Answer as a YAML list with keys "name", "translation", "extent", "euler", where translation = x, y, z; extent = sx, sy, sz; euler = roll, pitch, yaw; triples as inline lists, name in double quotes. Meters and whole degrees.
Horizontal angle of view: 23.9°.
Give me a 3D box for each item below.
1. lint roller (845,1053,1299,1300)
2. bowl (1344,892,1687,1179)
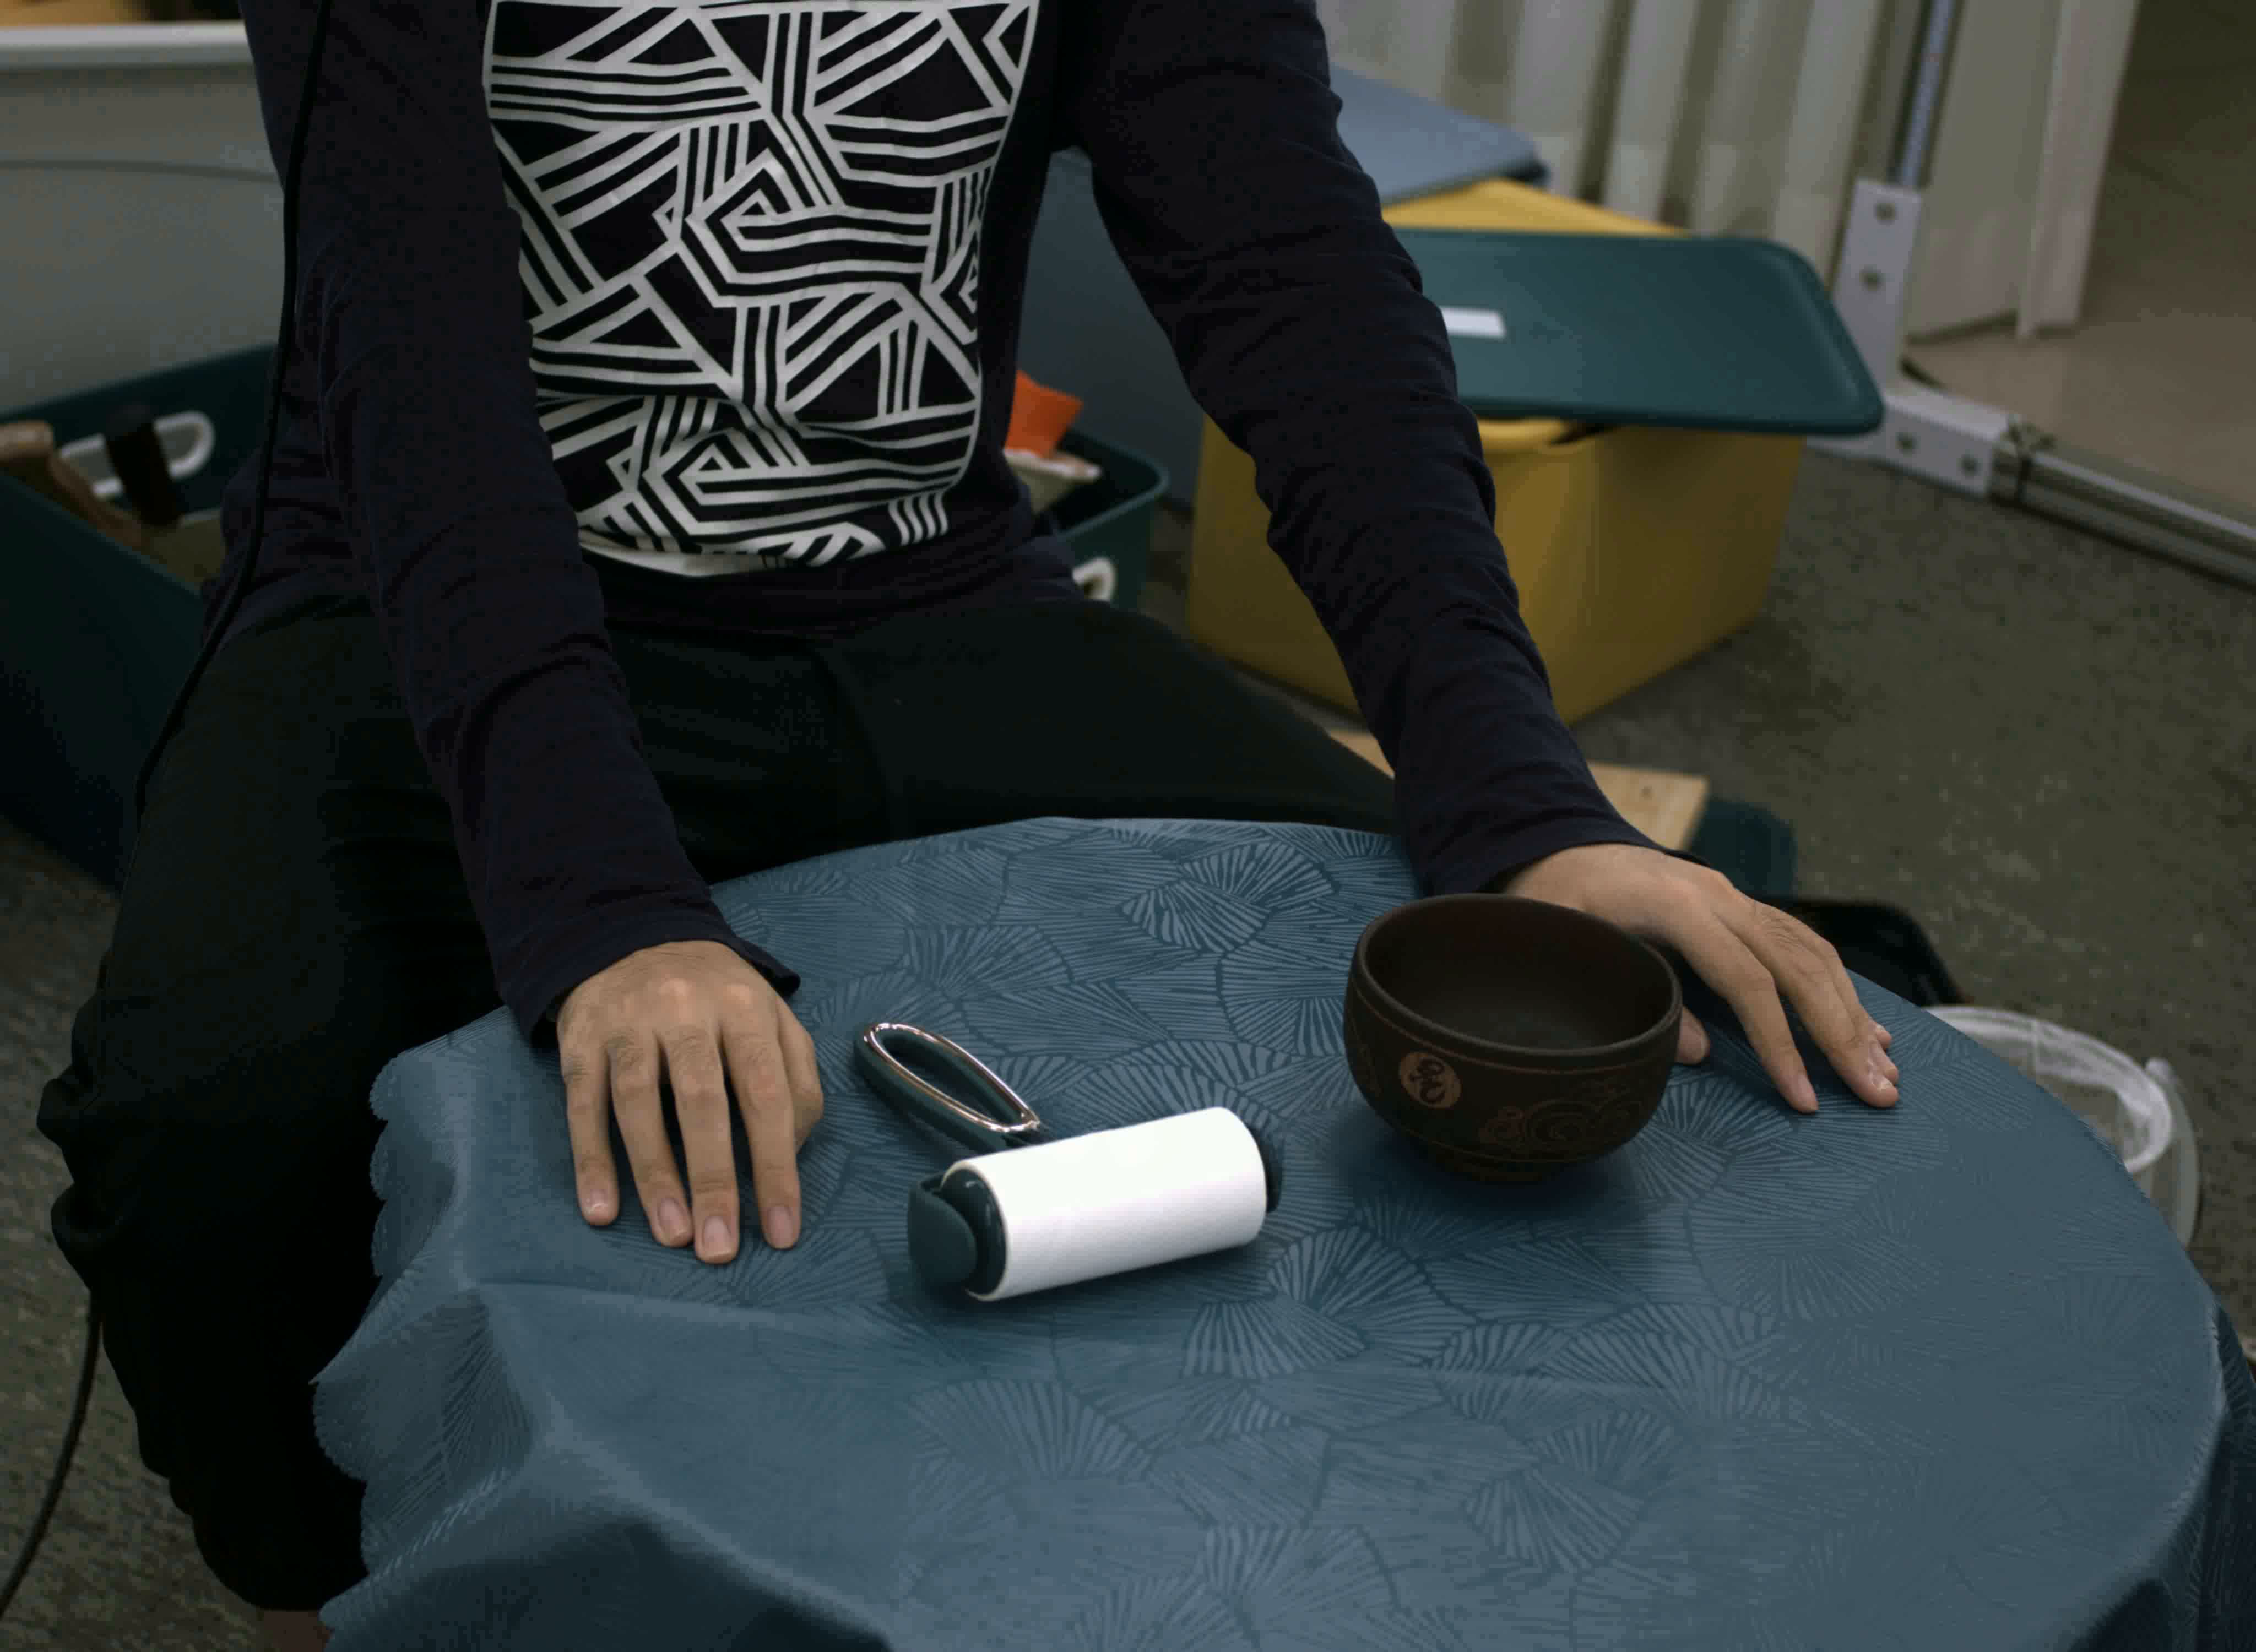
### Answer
- name: "lint roller"
  translation: [-0.044, 0.098, 1.802]
  extent: [0.133, 0.048, 0.181]
  euler: [-10, 28, -30]
- name: "bowl"
  translation: [0.132, 0.079, 1.844]
  extent: [0.117, 0.069, 0.119]
  euler: [3, 26, -2]
